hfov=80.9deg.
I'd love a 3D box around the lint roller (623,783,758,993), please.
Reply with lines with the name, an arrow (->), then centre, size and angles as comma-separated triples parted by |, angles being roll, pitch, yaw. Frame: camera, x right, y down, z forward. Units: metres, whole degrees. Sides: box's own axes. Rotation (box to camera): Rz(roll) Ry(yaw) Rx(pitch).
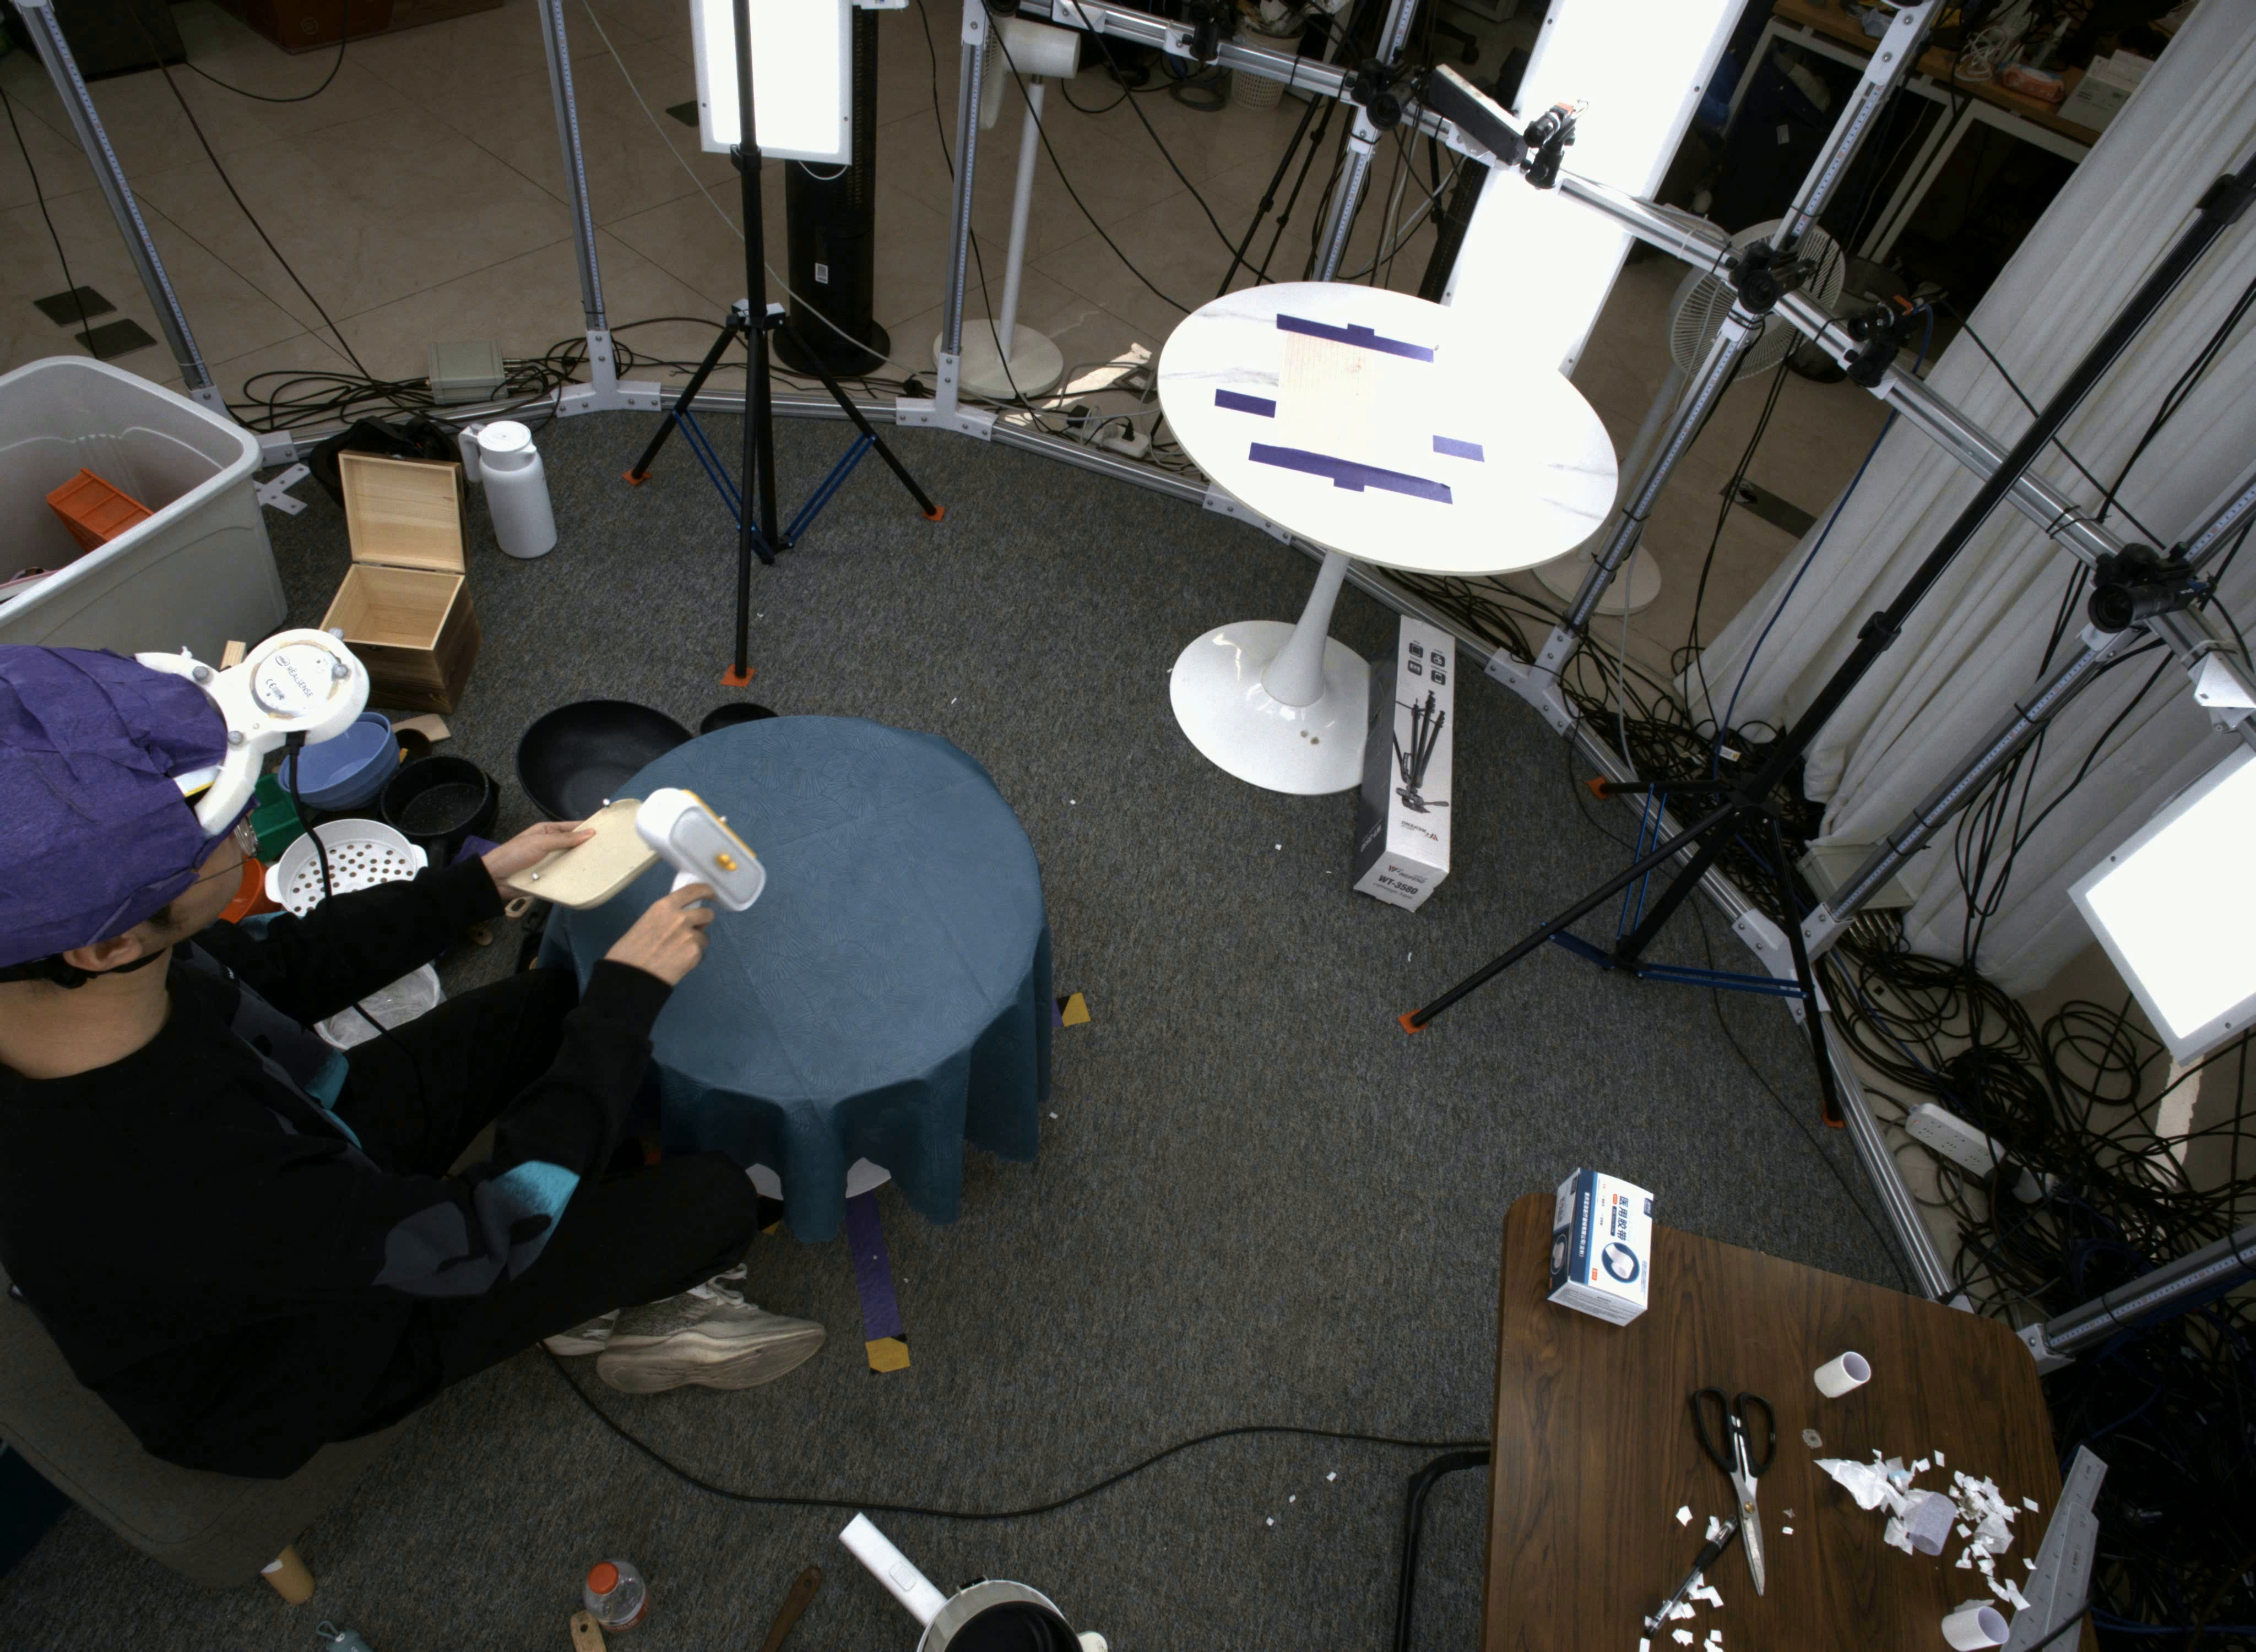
lint roller -> -0.474, 0.076, 1.351 | 0.072, 0.198, 0.192 | 12, 69, 18

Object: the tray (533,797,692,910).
tray -> -0.592, 0.027, 1.445 | 0.231, 0.018, 0.171 | 6, 43, 46
